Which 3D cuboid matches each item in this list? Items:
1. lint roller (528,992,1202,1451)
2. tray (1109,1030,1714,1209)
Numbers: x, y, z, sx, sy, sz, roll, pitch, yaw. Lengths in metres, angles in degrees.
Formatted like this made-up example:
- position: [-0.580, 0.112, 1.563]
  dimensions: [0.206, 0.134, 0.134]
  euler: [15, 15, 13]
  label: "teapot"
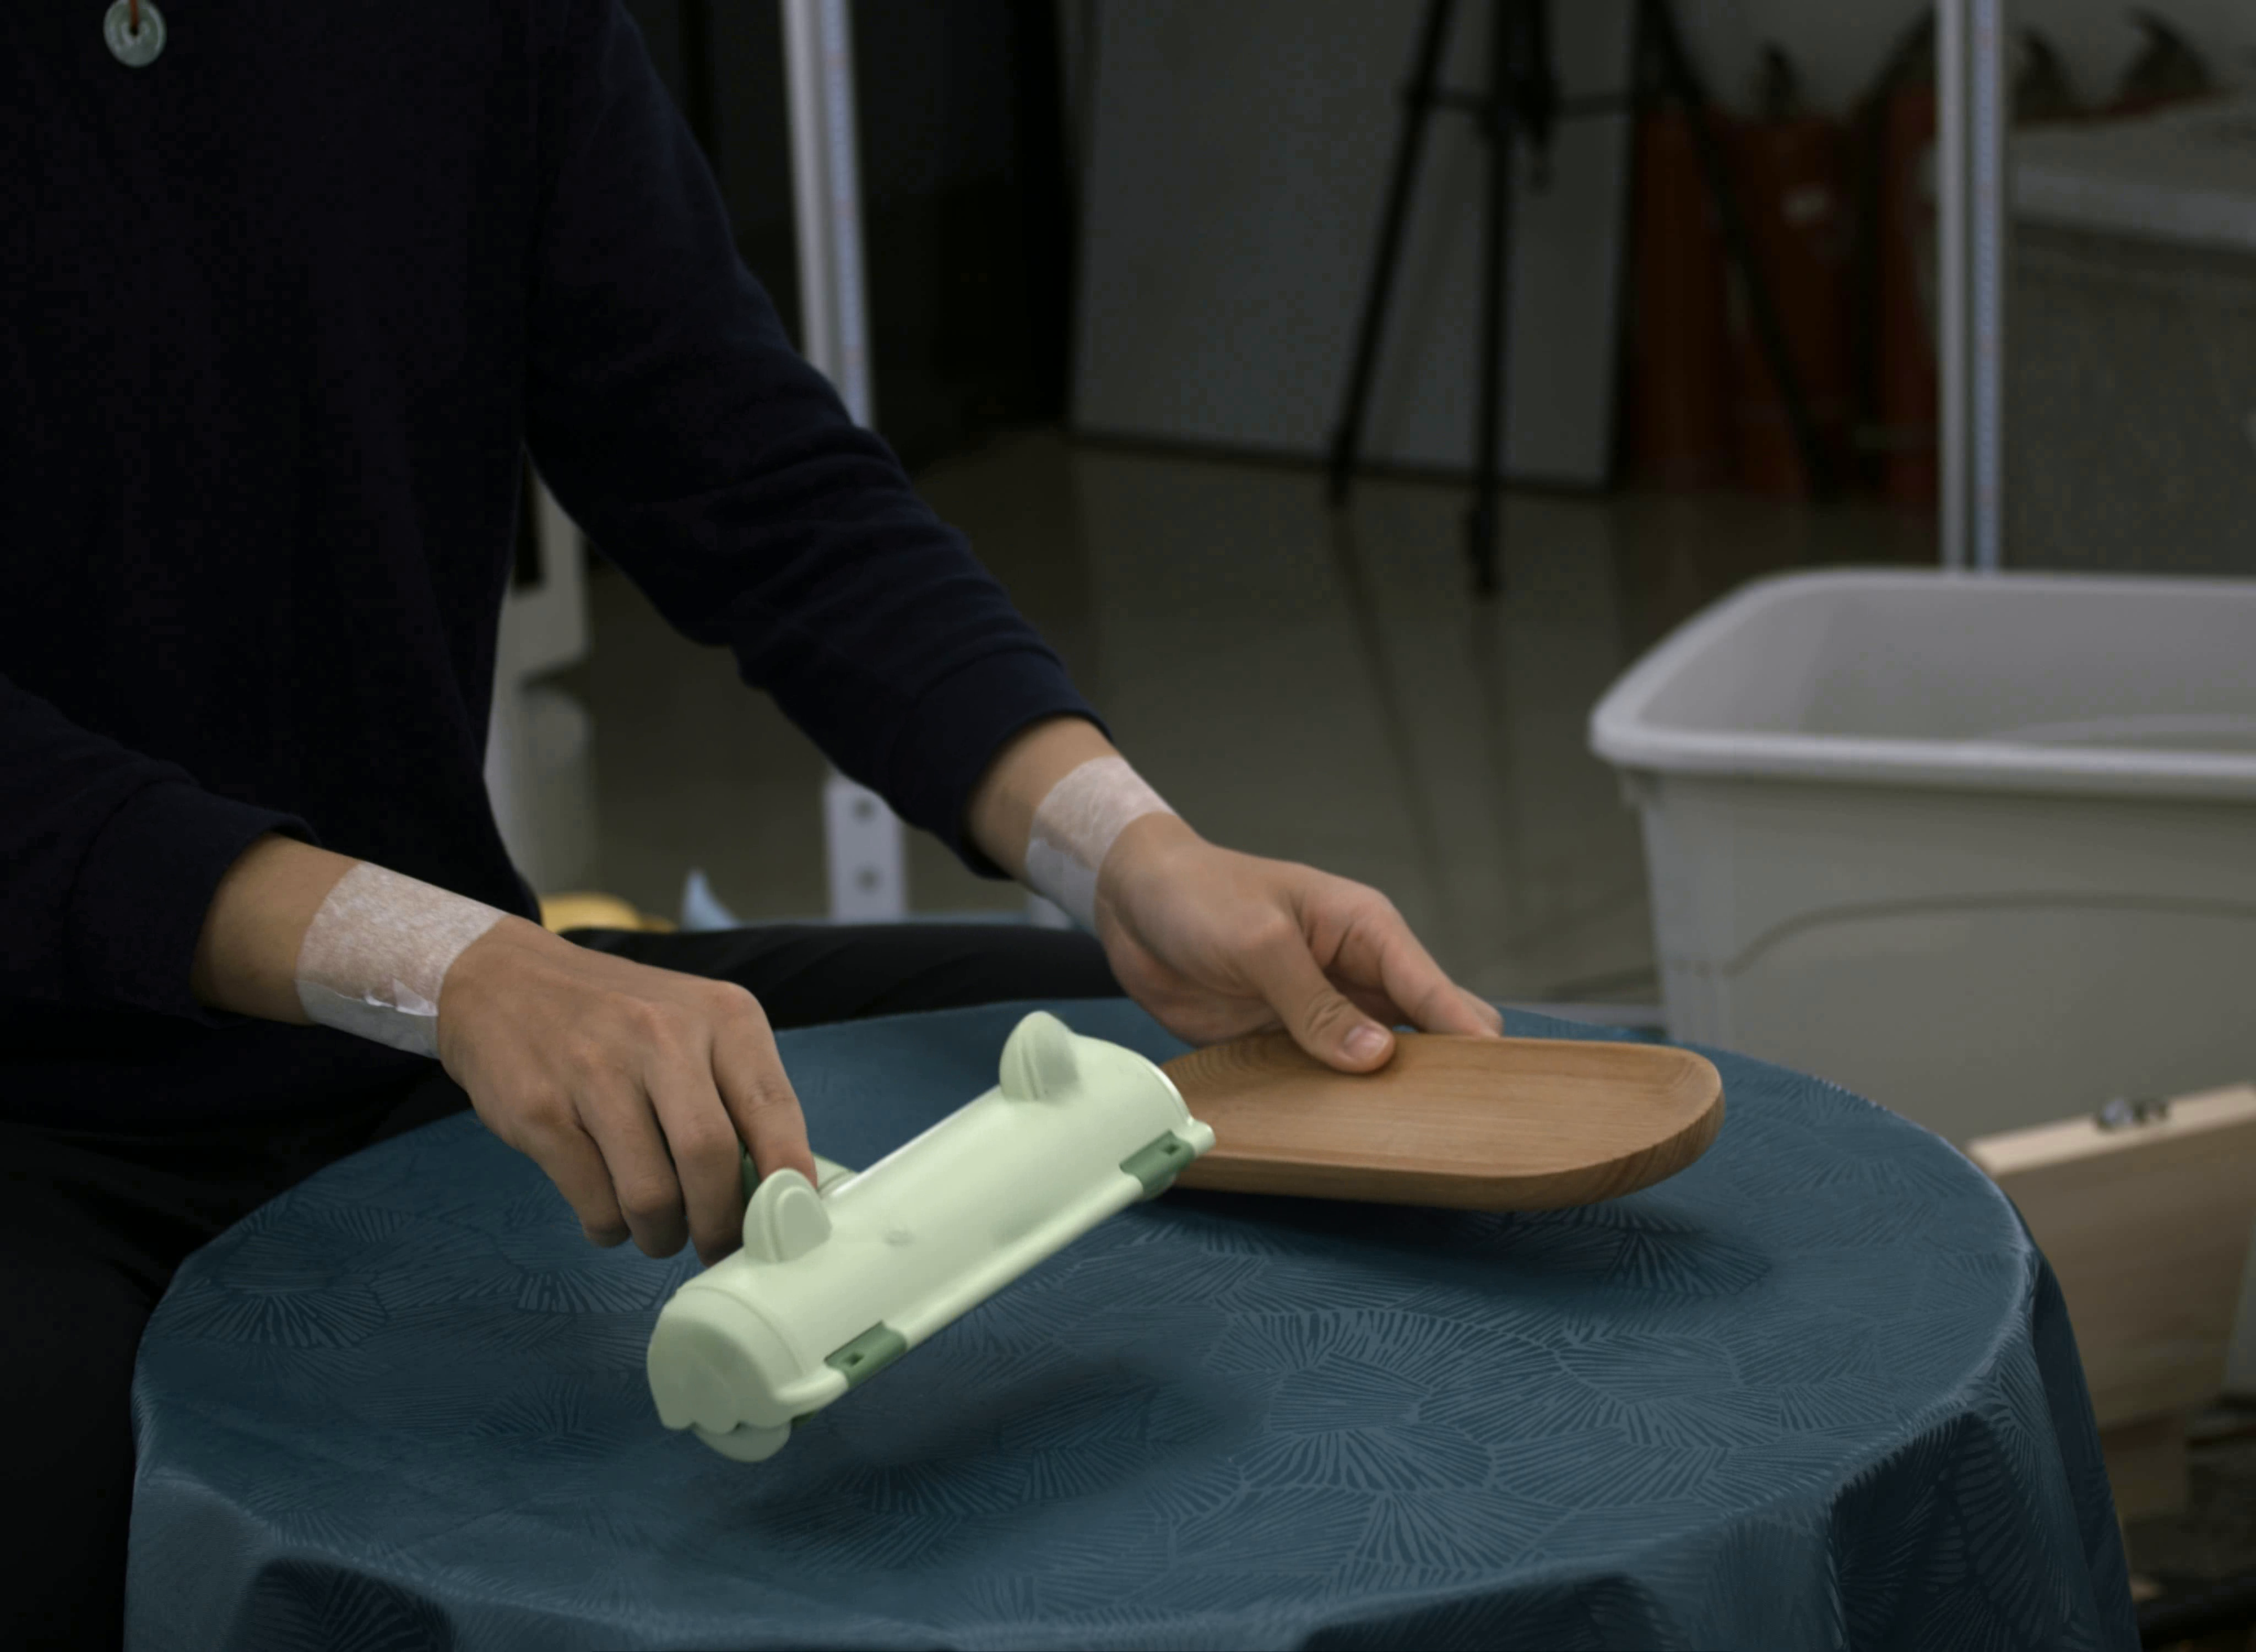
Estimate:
- position: [-0.102, 0.087, 1.574]
  dimensions: [0.184, 0.083, 0.195]
  euler: [26, 35, 28]
  label: "lint roller"
- position: [0.086, 0.094, 1.734]
  dimensions: [0.233, 0.020, 0.100]
  euler: [-2, 20, 41]
  label: "tray"
